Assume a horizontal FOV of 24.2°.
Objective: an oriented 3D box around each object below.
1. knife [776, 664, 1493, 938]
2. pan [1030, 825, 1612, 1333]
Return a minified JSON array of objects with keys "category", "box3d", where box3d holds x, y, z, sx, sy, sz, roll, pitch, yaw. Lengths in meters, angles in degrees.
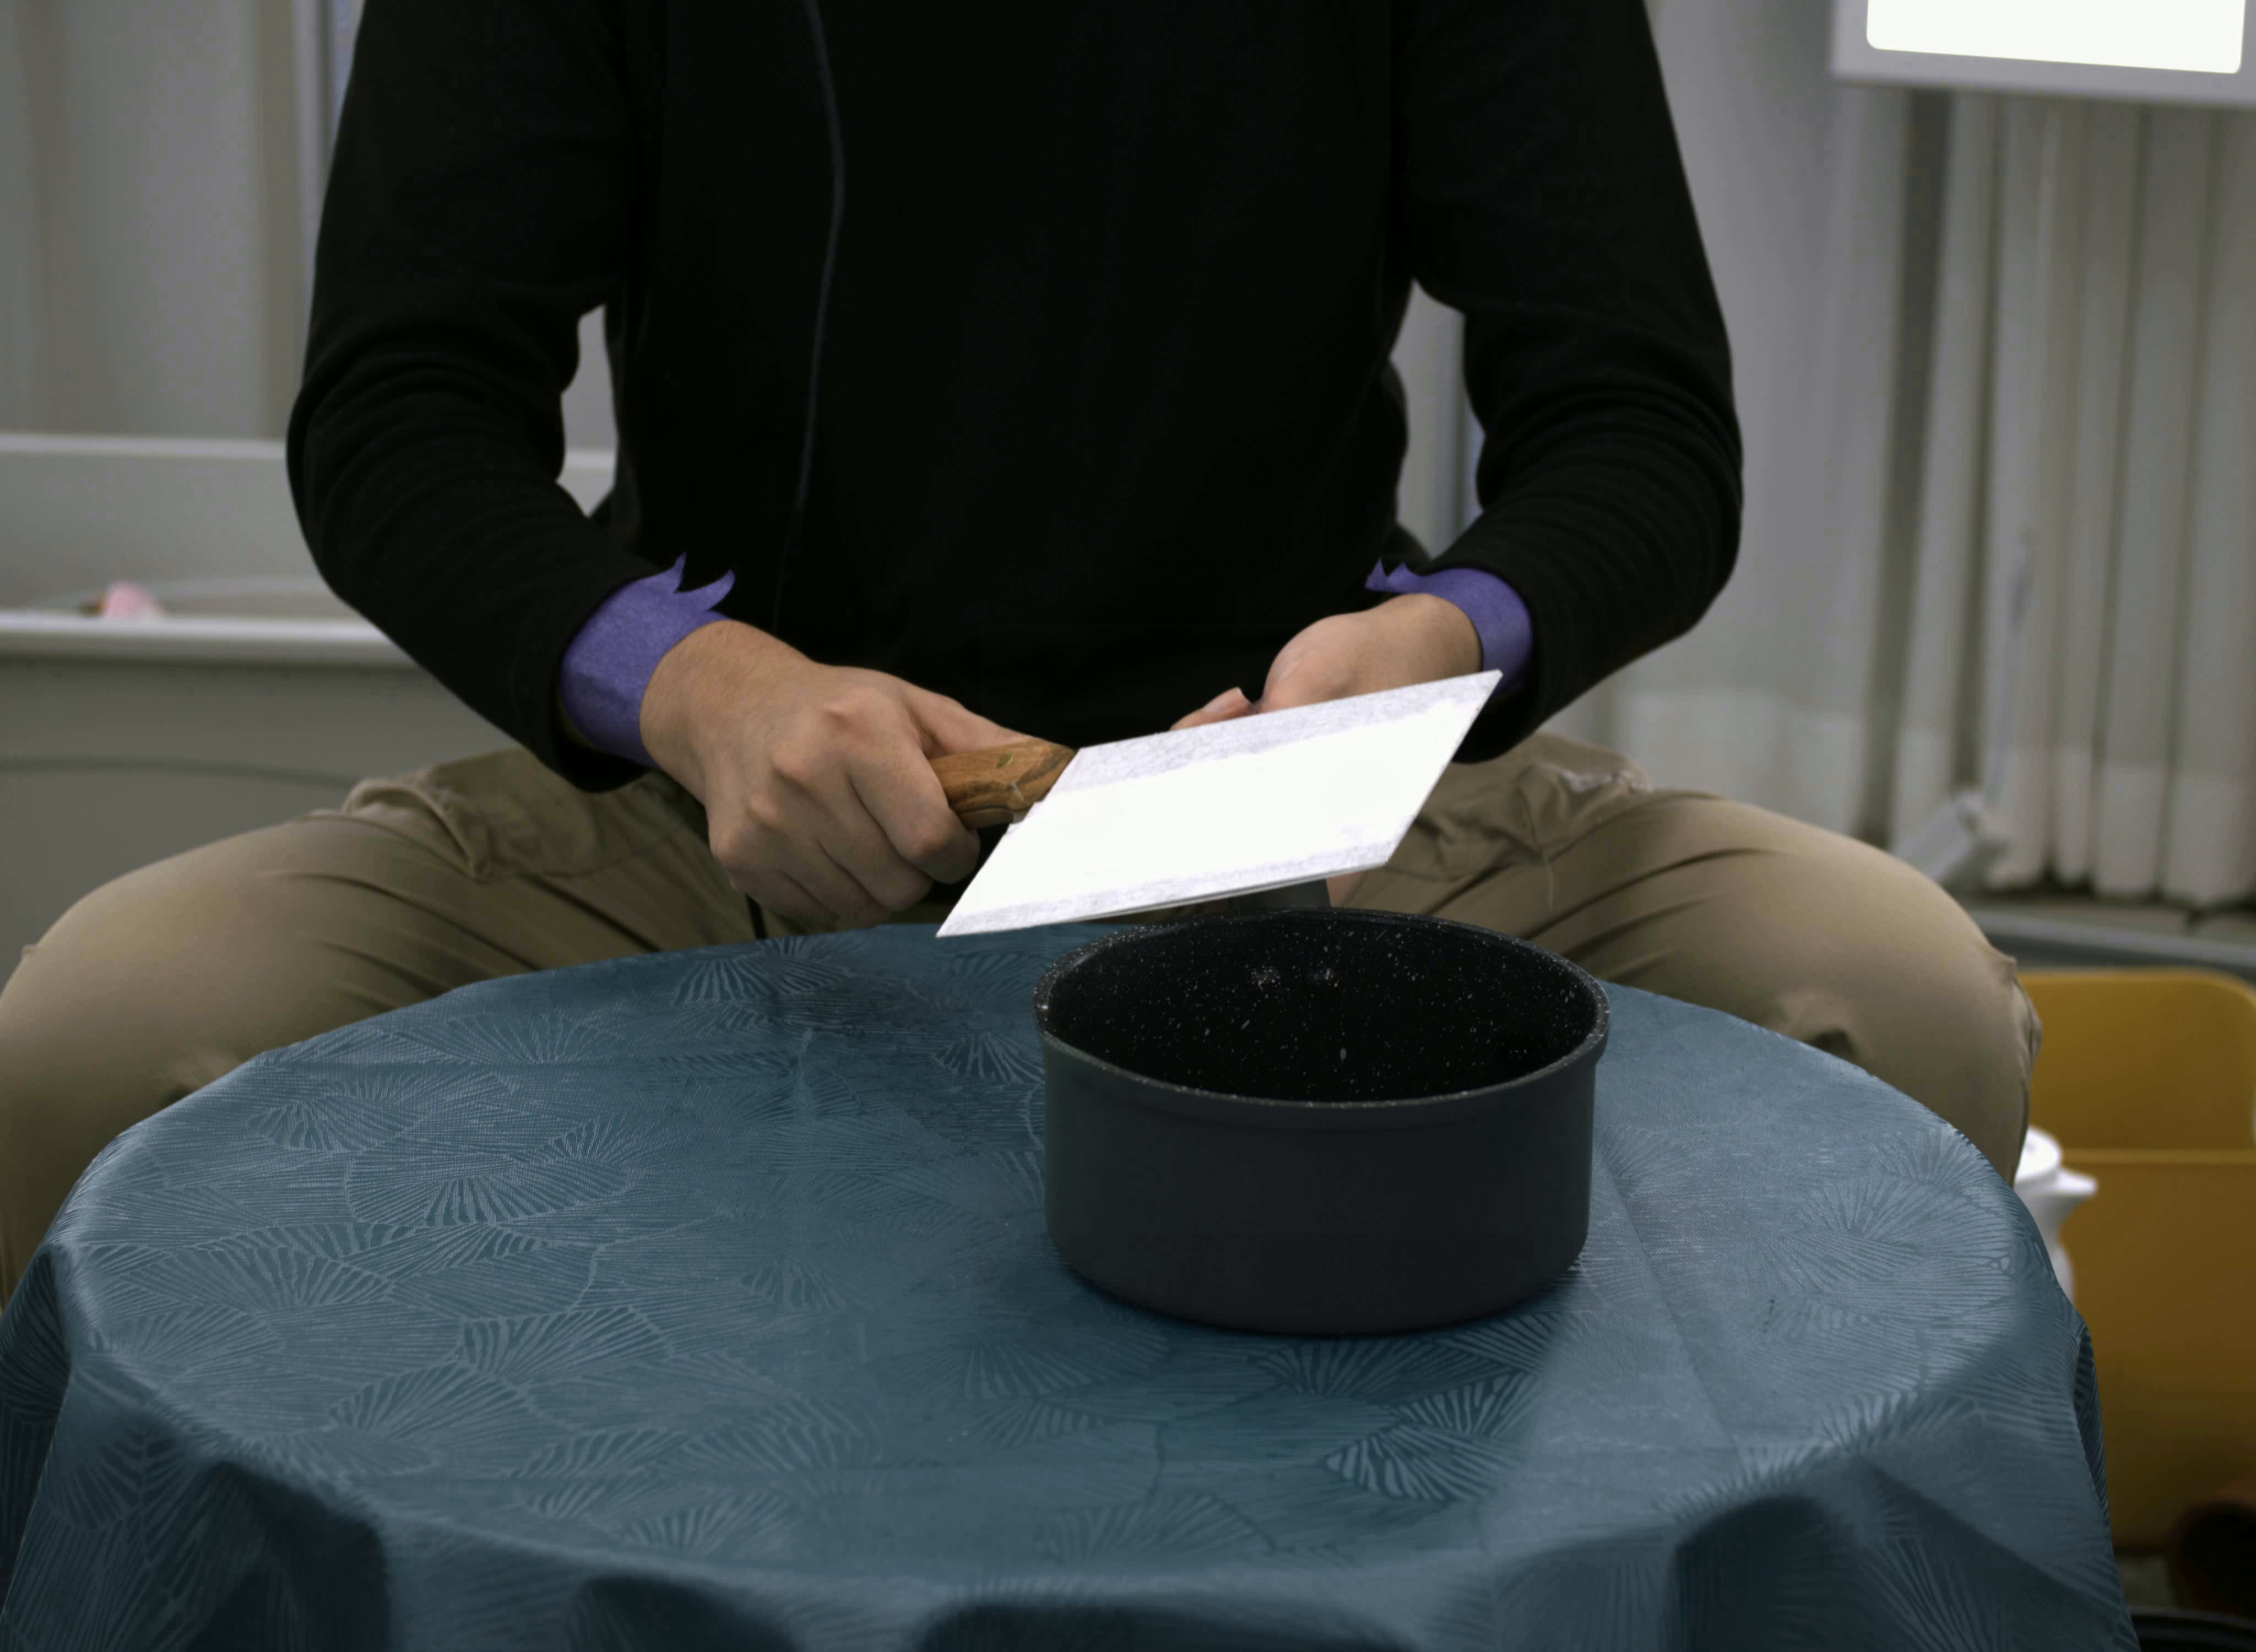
[{"category":"knife","box3d":[-0.014,-0.001,1.683,0.303,0.021,0.092,-10,36,42]},{"category":"pan","box3d":[0.055,0.059,1.637,0.171,0.087,0.326,1,19,-2]}]
